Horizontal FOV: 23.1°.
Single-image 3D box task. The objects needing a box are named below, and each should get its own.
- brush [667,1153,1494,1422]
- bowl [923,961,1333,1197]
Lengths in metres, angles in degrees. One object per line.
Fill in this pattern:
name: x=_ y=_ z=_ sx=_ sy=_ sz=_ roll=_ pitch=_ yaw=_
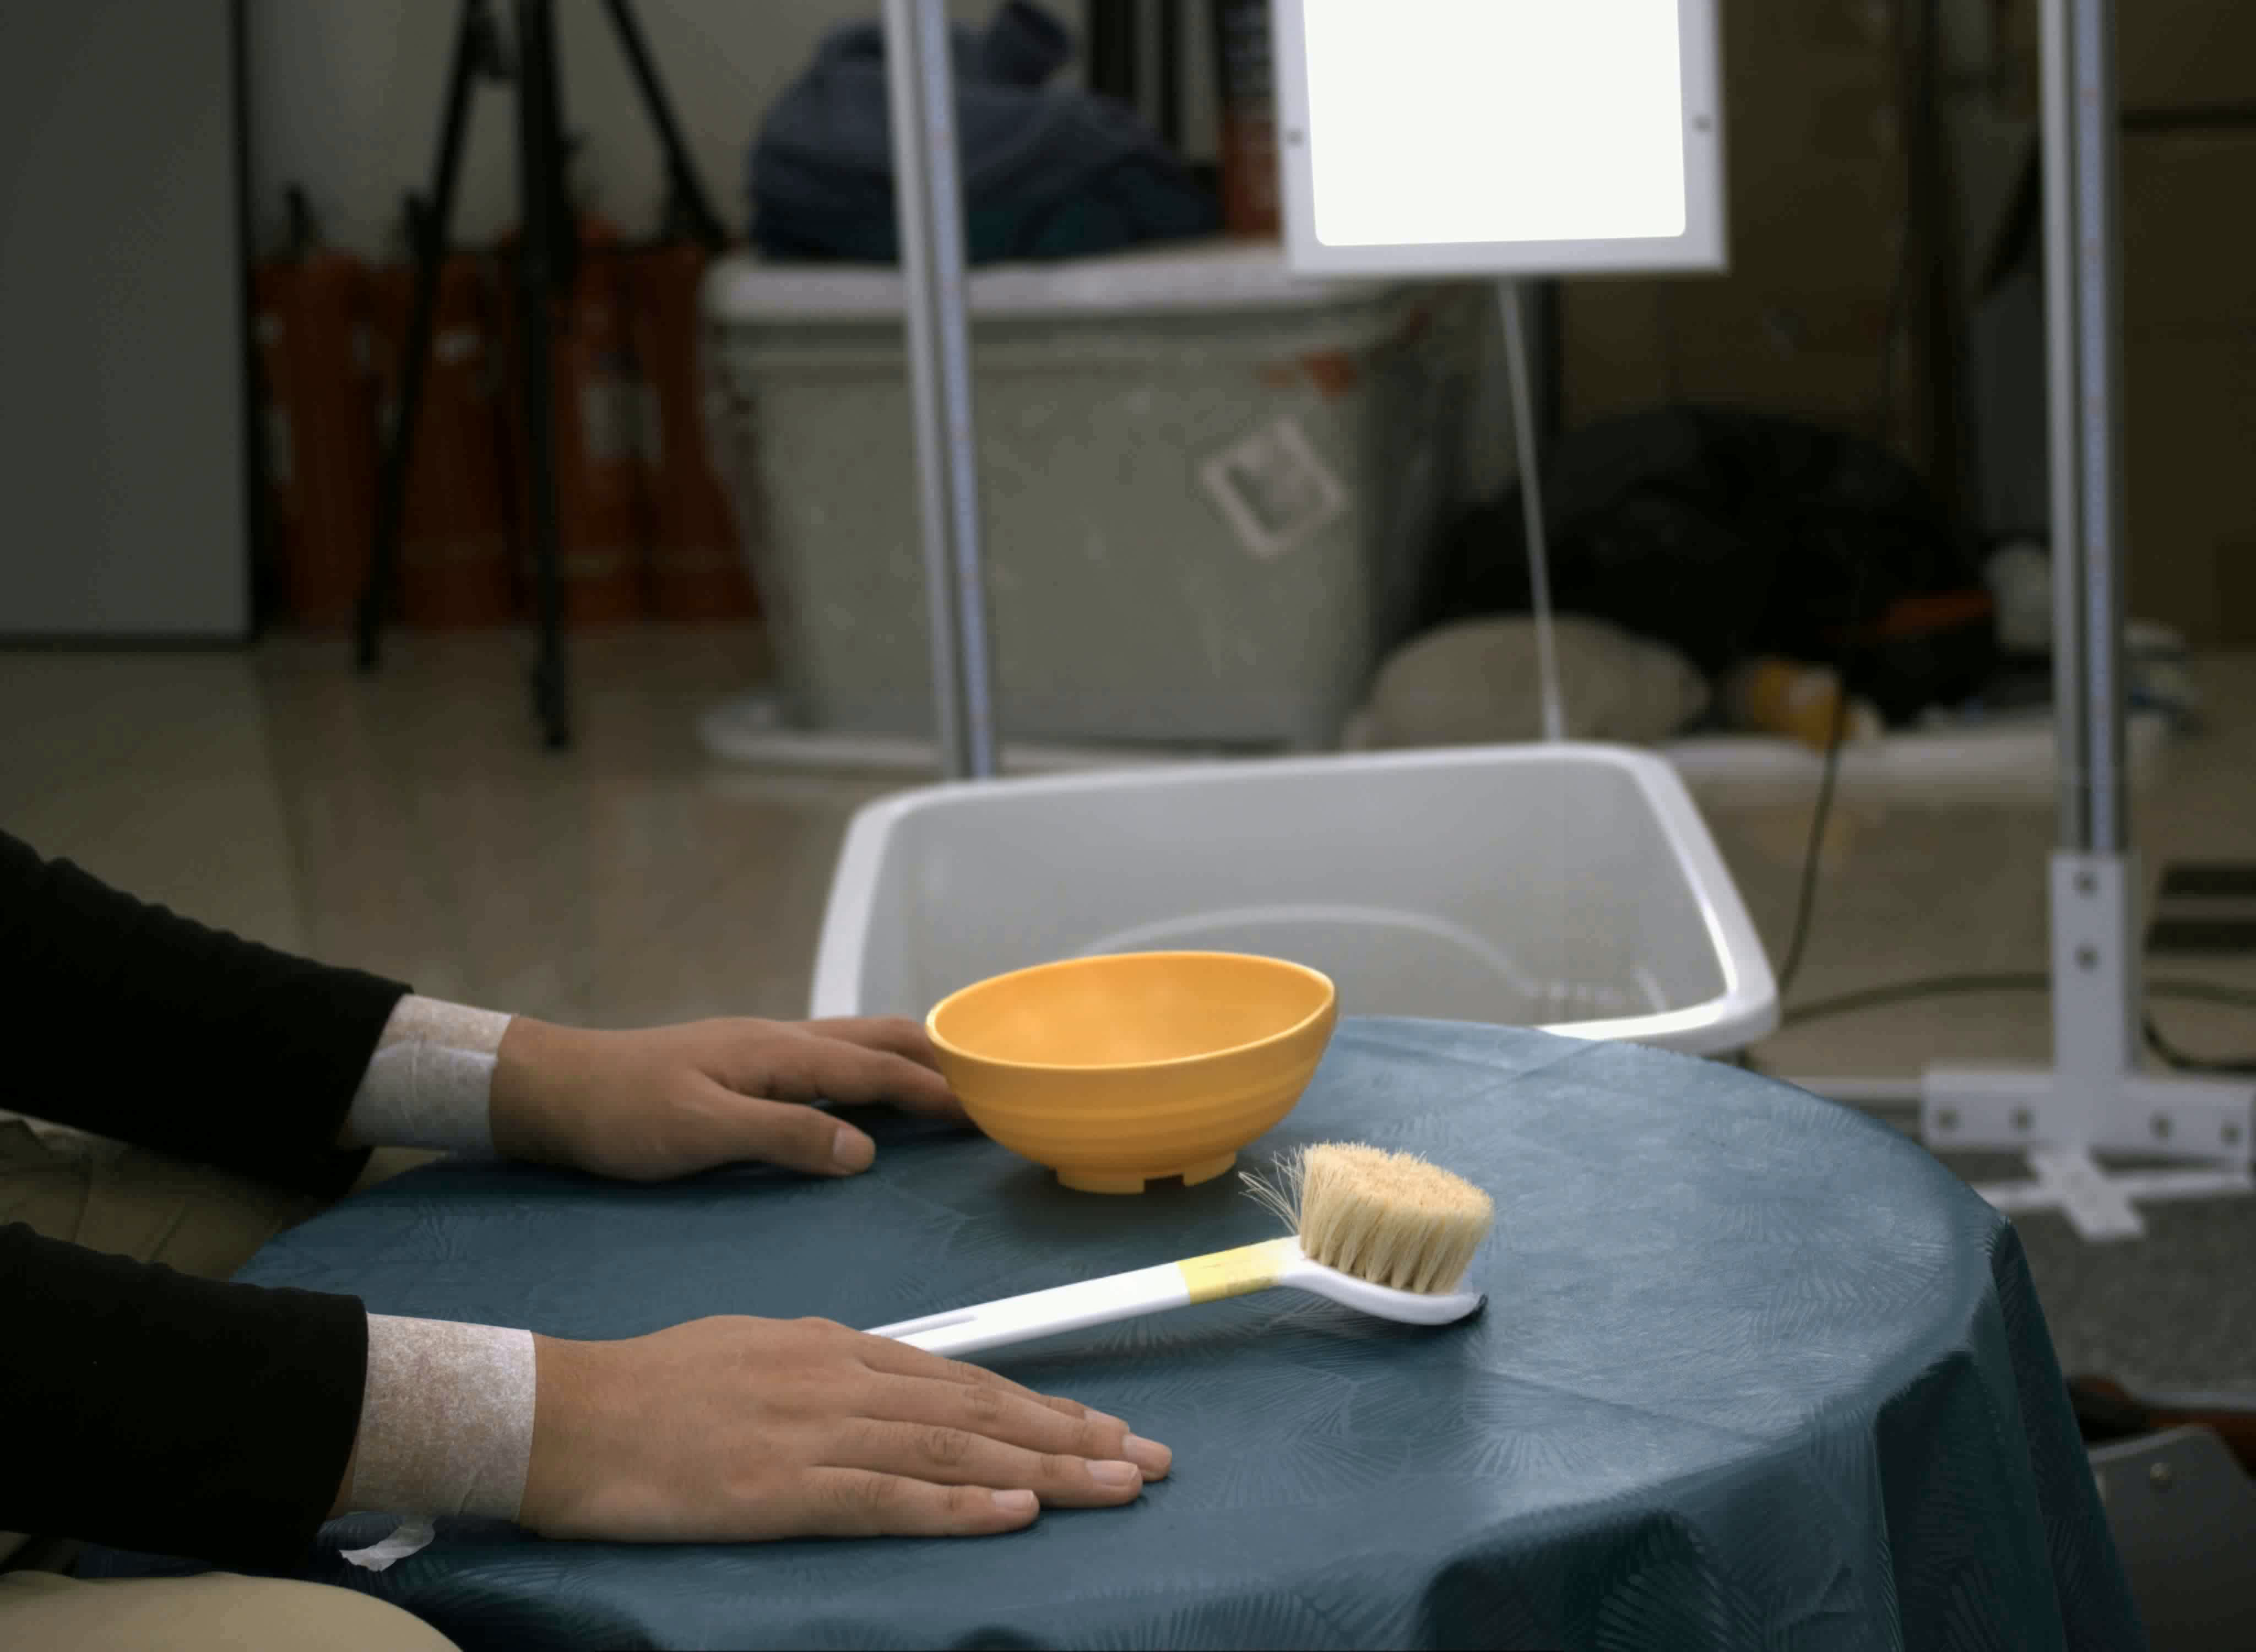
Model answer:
brush: x=-0.015 y=0.143 z=1.725 sx=0.265 sy=0.056 sz=0.069 roll=-7 pitch=9 yaw=-4
bowl: x=0.003 y=0.092 z=1.918 sx=0.145 sy=0.060 sz=0.145 roll=-6 pitch=12 yaw=0
